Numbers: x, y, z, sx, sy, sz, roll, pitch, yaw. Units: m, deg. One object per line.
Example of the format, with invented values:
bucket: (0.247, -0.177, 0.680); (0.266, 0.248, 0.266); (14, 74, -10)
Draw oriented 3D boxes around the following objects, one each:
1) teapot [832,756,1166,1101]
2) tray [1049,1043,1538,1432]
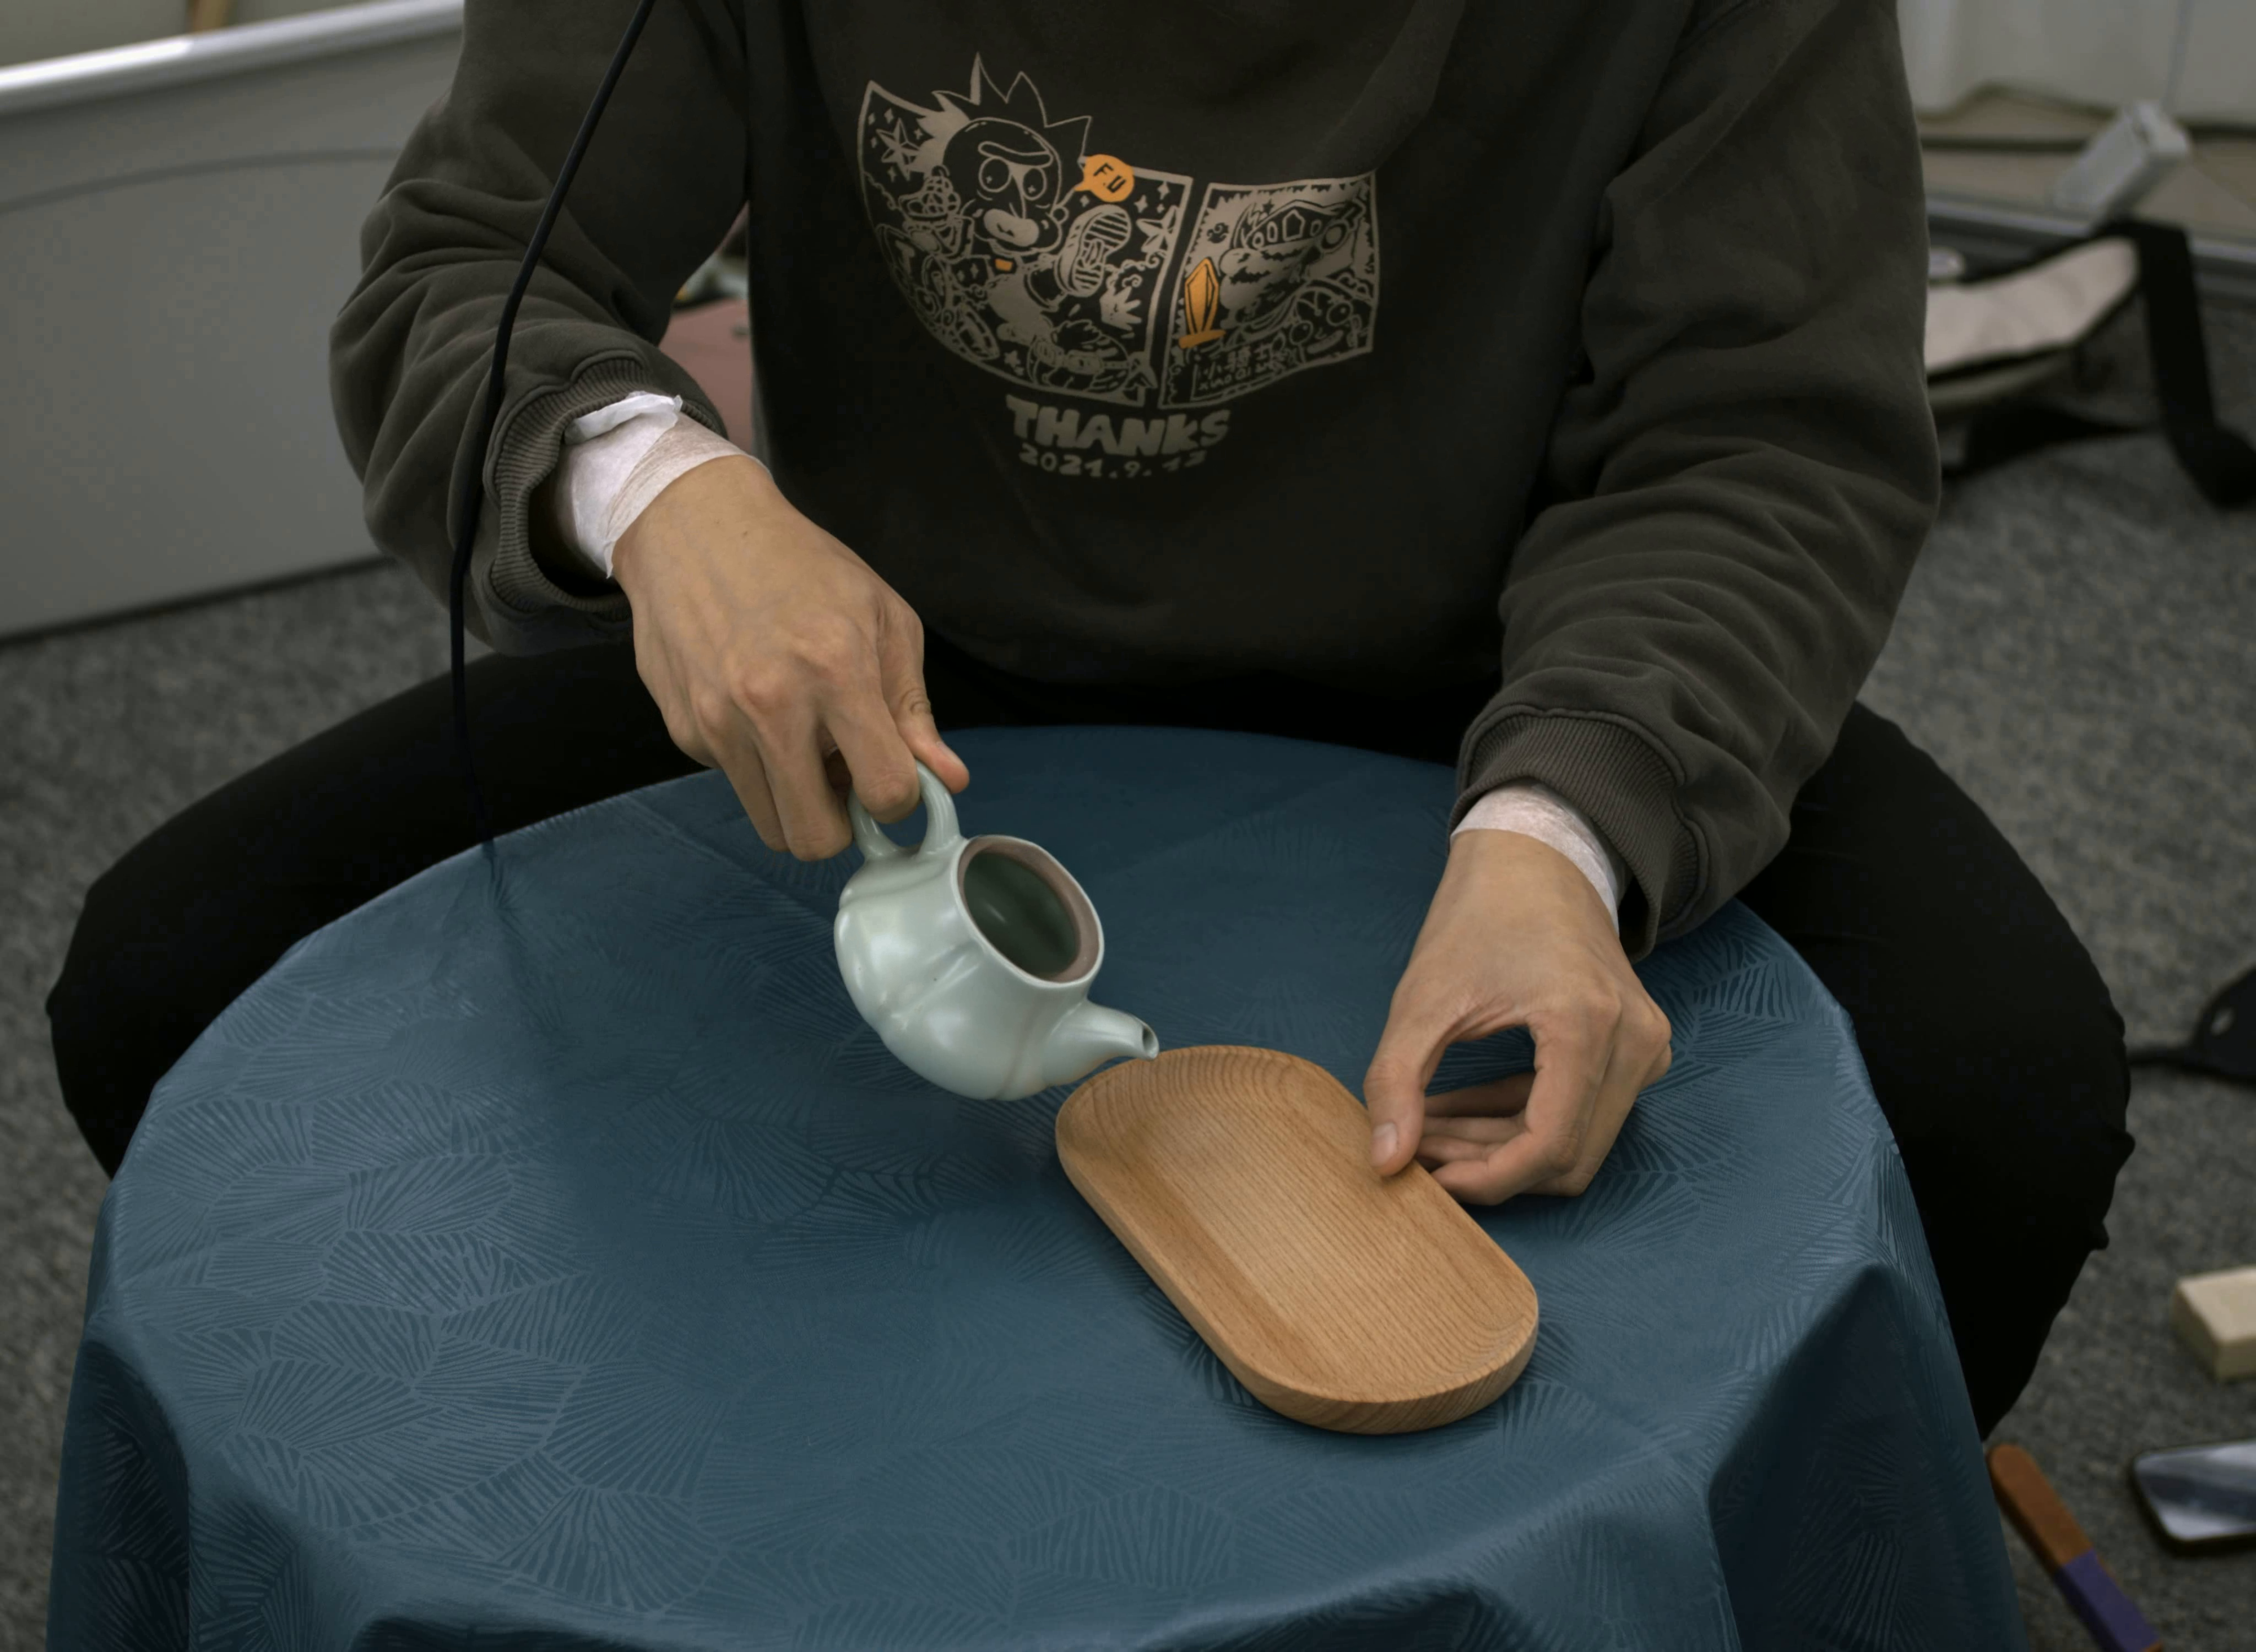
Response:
teapot: (-0.051, 0.038, 1.850); (0.137, 0.060, 0.098); (48, 36, 1)
tray: (0.051, 0.131, 1.819); (0.102, 0.020, 0.232); (-14, 28, -20)
